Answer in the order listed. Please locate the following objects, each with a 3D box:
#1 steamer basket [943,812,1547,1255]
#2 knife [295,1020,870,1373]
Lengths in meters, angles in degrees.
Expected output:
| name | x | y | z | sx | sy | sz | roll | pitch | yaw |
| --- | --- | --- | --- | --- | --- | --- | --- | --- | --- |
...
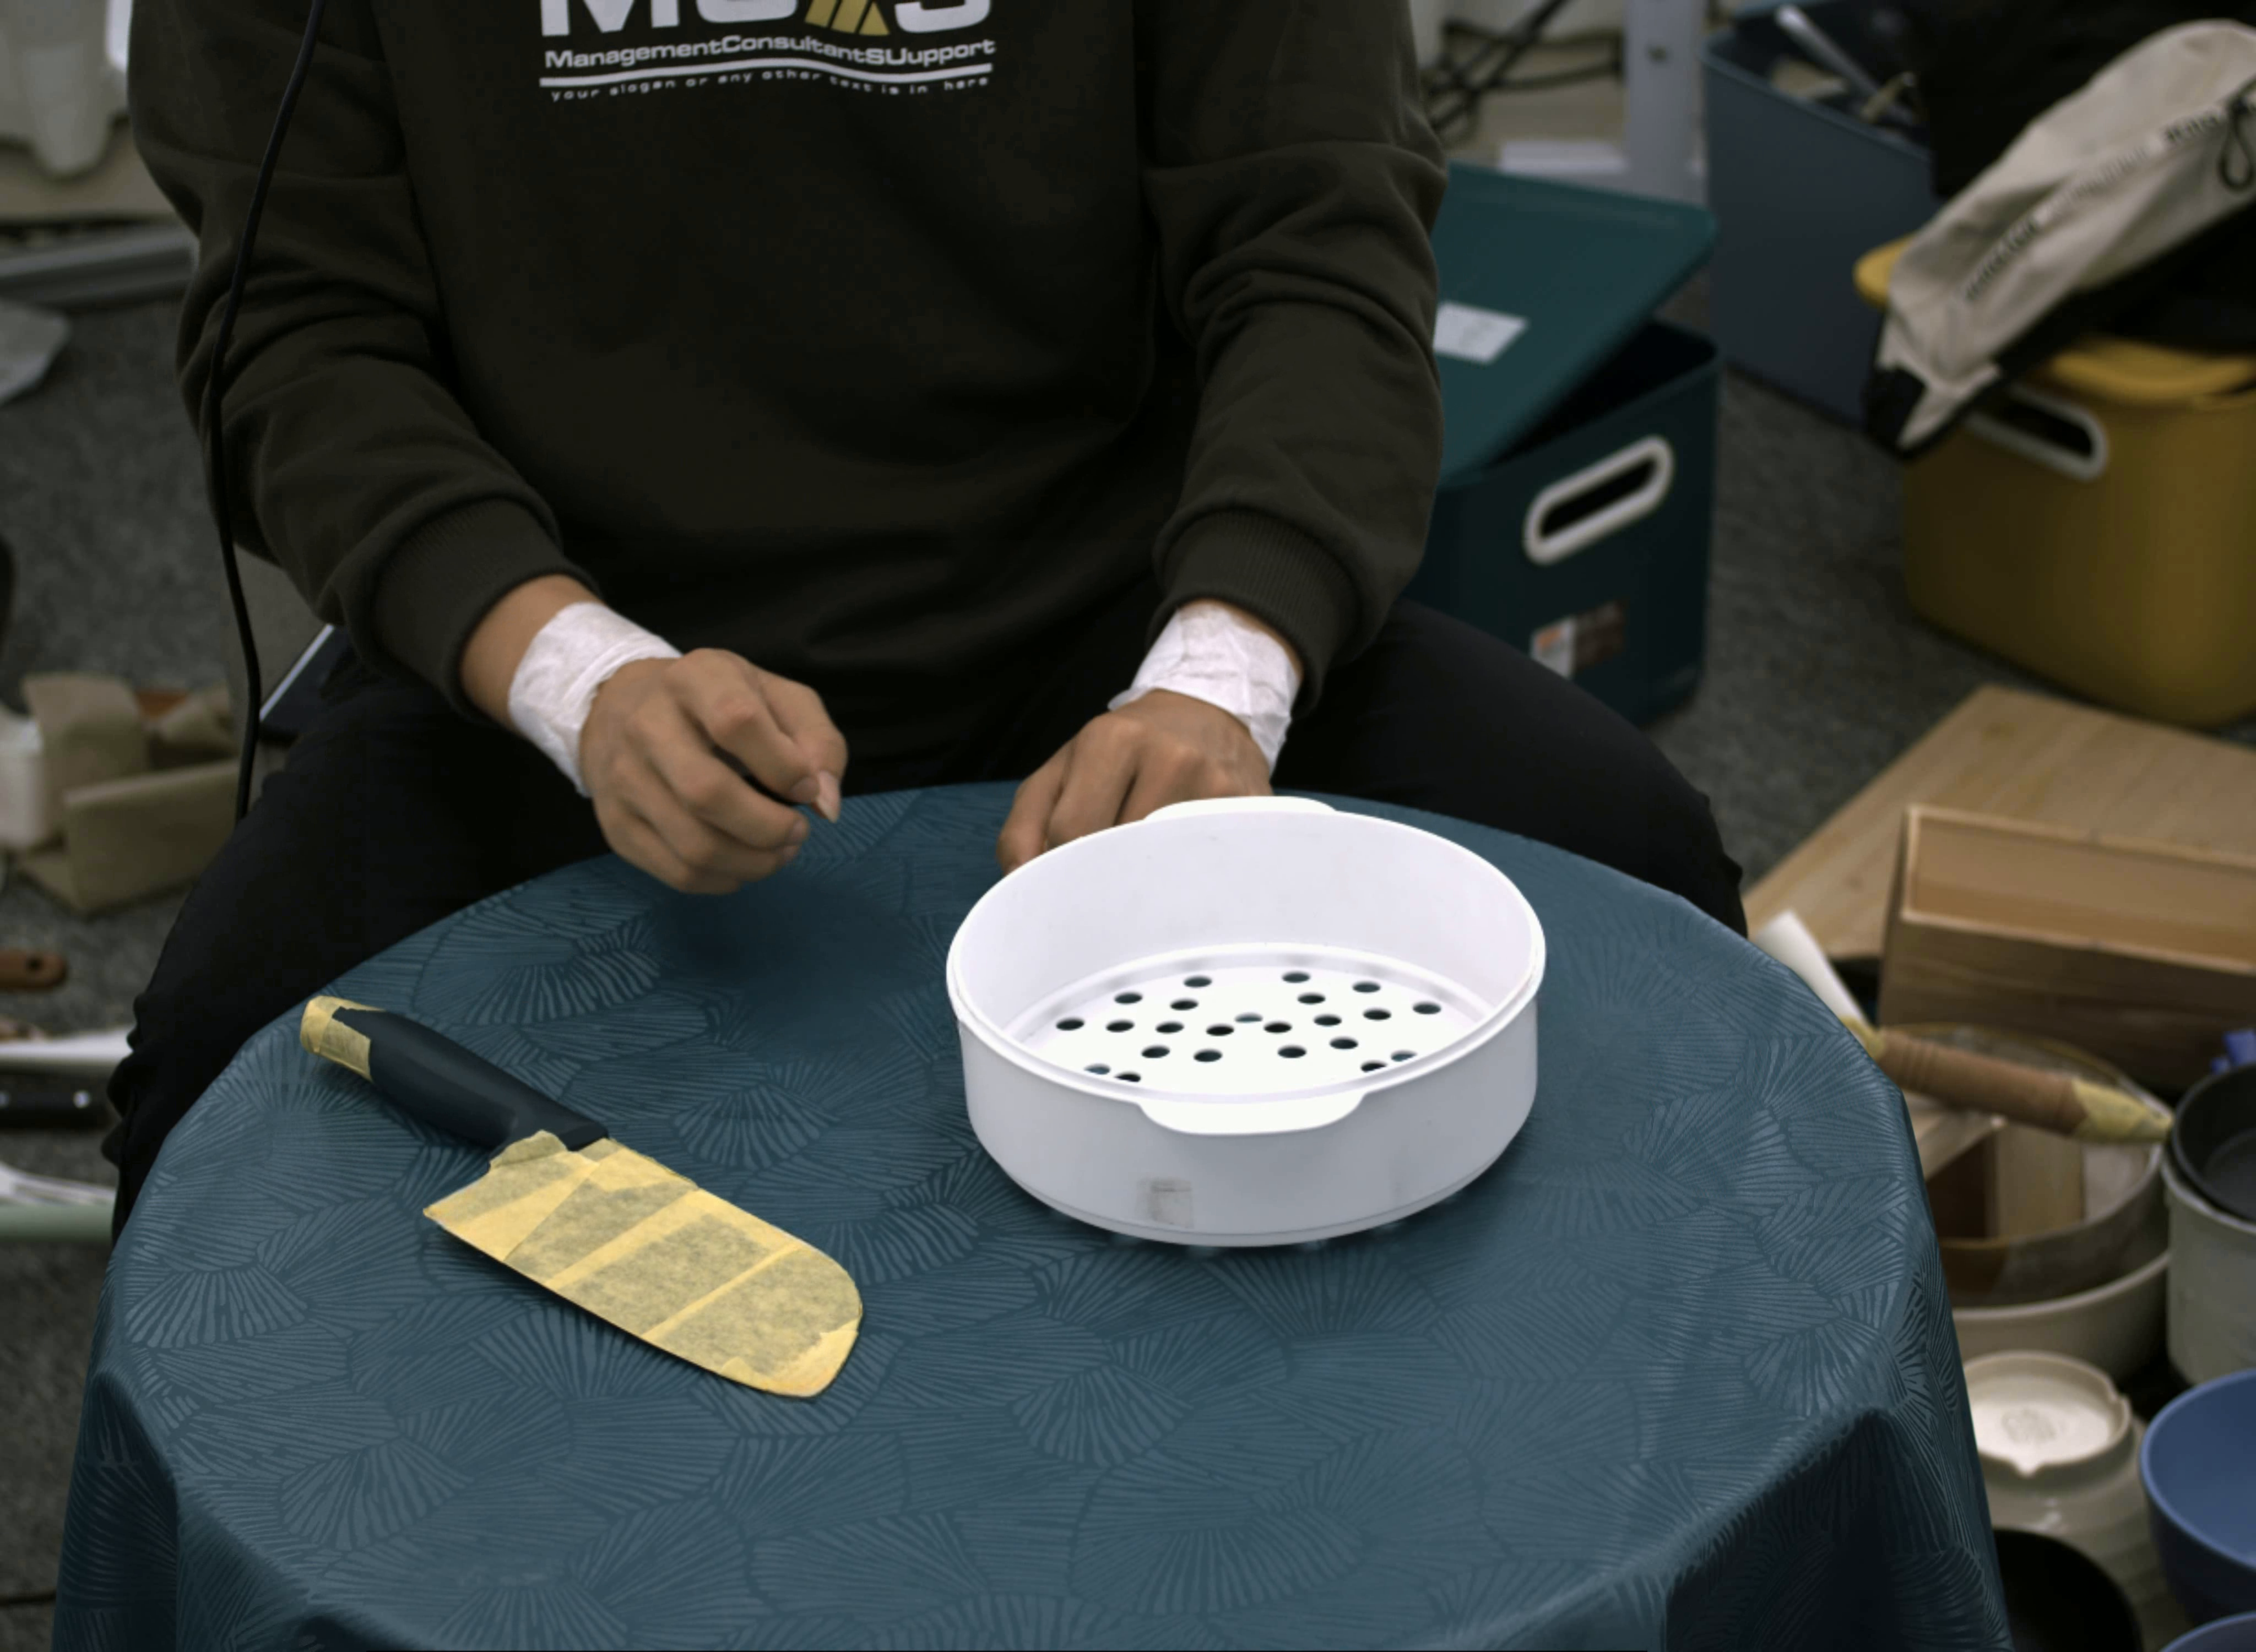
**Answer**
| name | x | y | z | sx | sy | sz | roll | pitch | yaw |
| --- | --- | --- | --- | --- | --- | --- | --- | --- | --- |
| steamer basket | 0.040 | 0.071 | 1.884 | 0.201 | 0.068 | 0.234 | -1 | 26 | 1 |
| knife | -0.191 | 0.124 | 1.859 | 0.082 | 0.027 | 0.289 | -24 | 35 | -39 |
